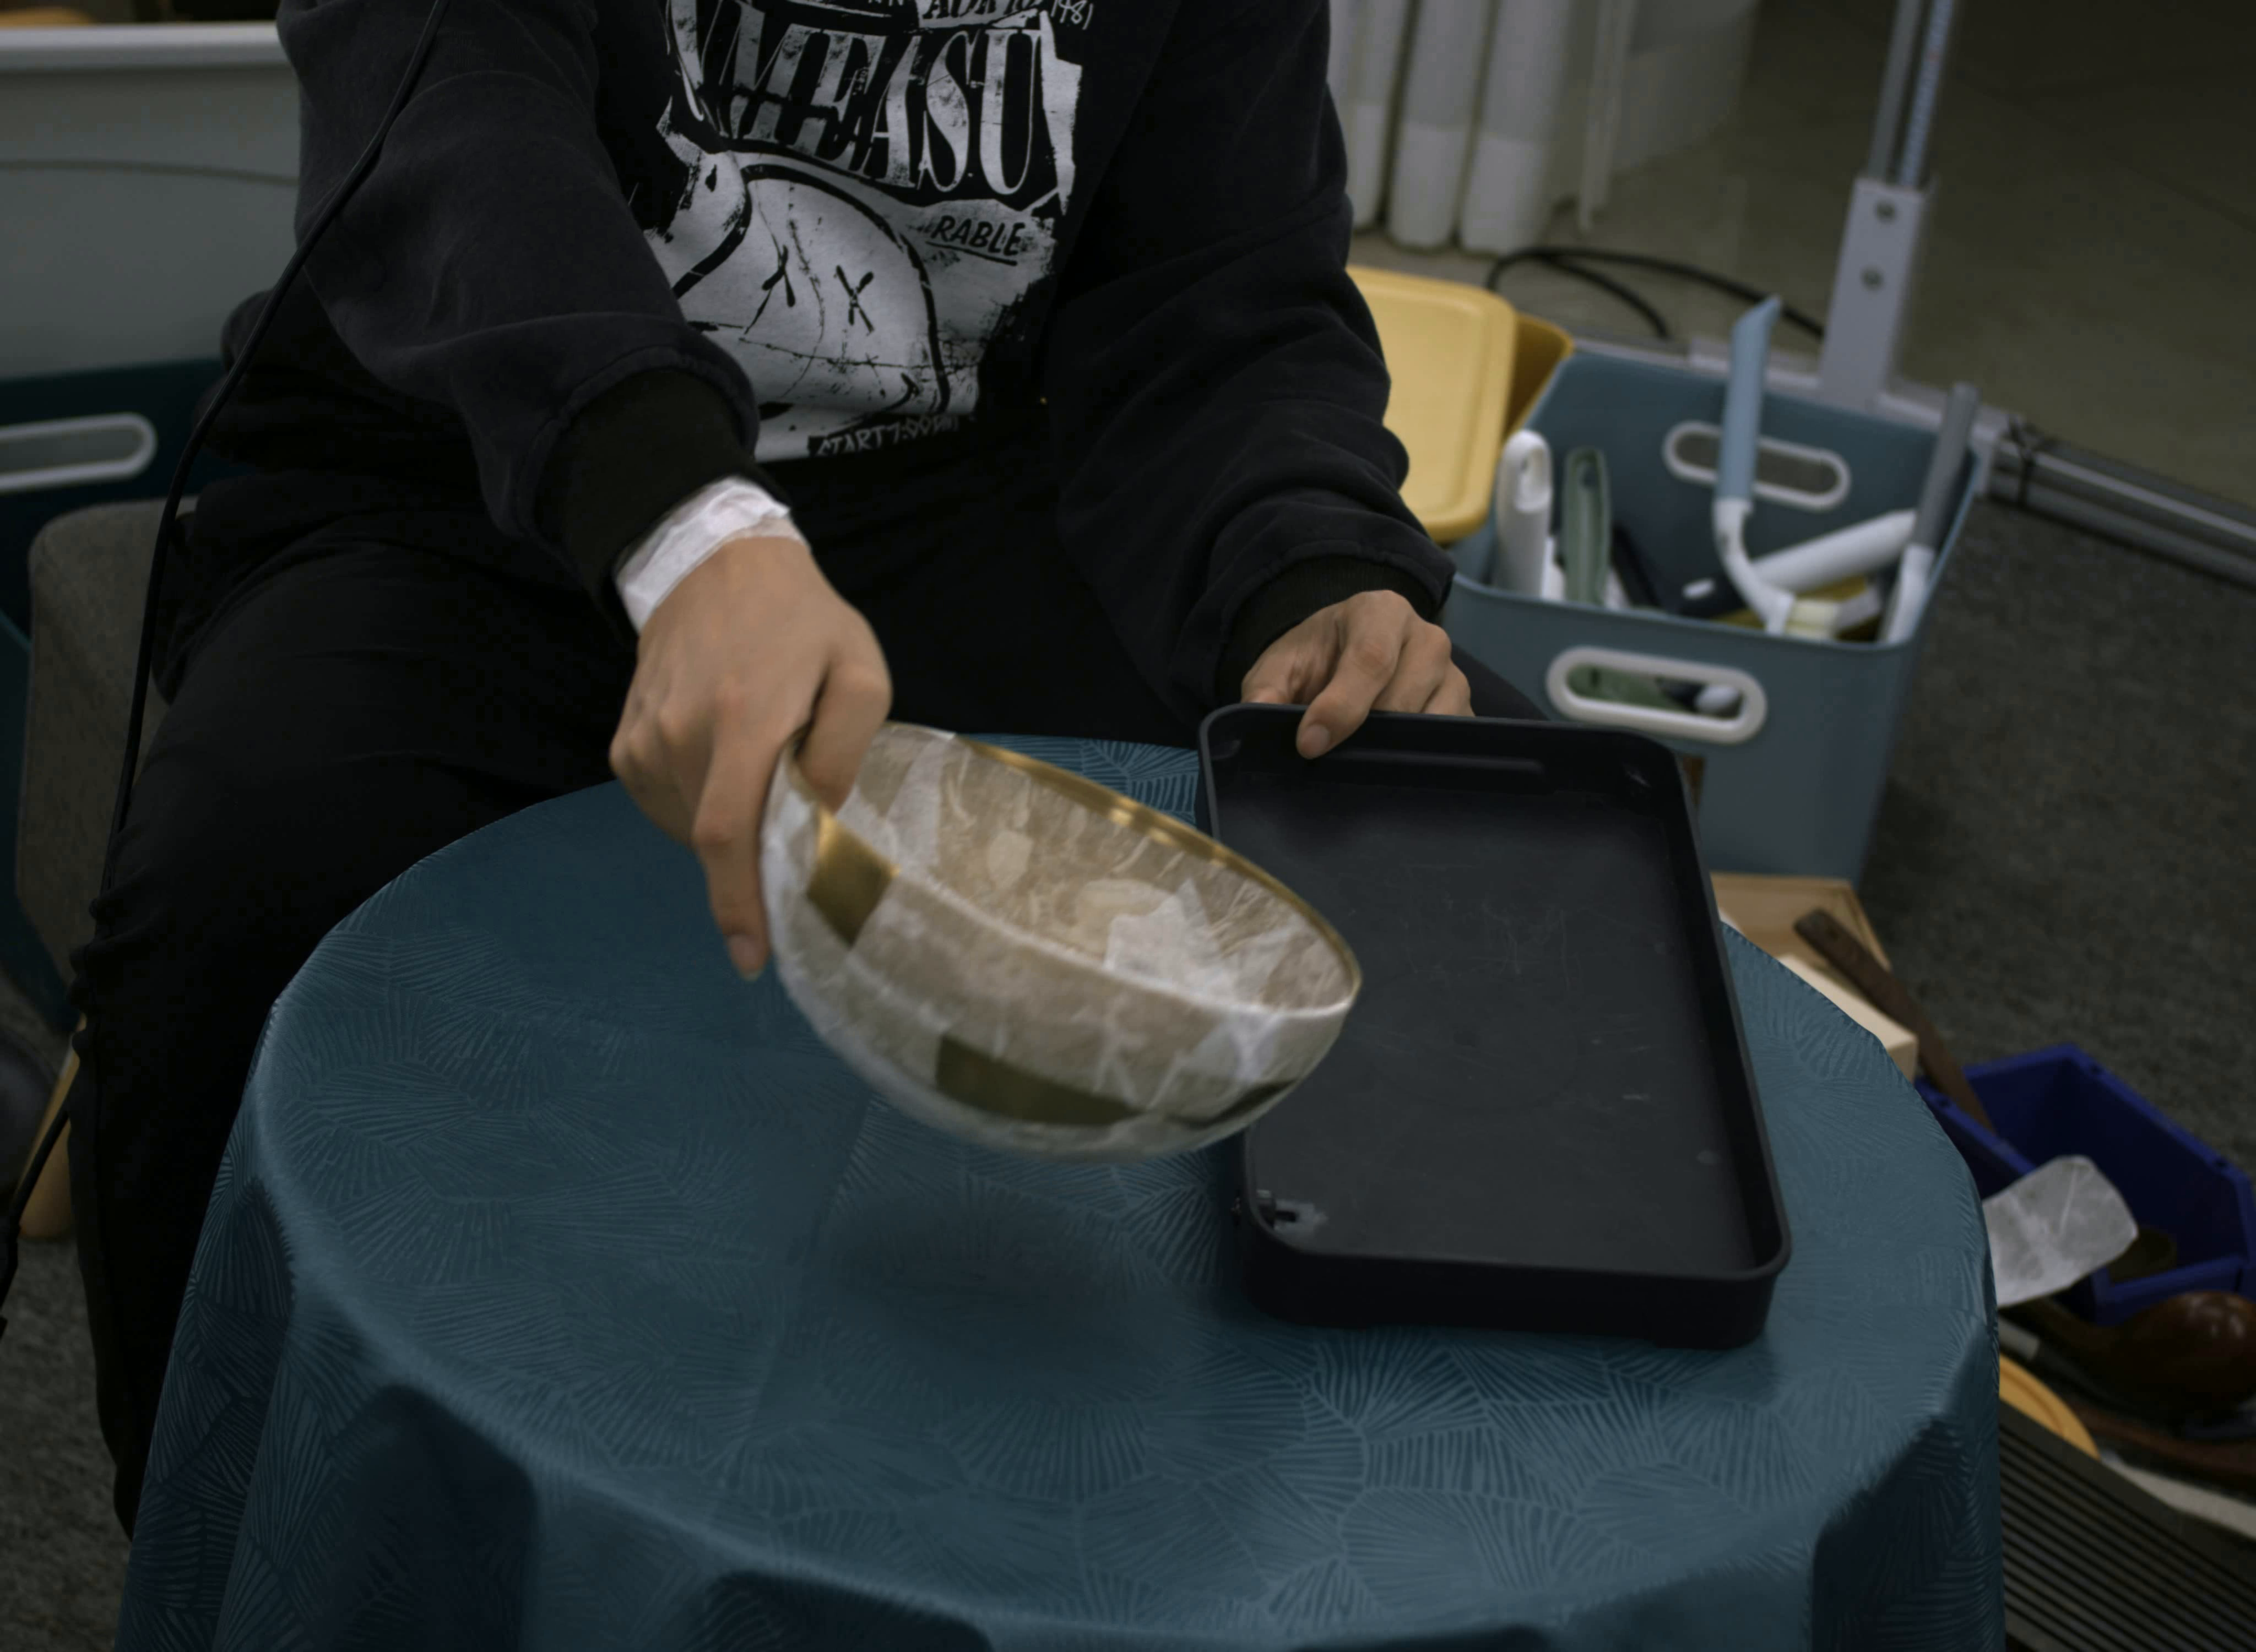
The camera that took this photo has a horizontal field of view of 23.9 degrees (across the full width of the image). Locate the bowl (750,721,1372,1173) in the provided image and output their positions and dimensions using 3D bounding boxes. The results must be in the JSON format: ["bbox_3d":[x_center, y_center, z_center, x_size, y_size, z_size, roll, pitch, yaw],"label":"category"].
[{"bbox_3d":[-0.035,0.050,1.701,0.214,0.094,0.215,21,16,-6],"label":"bowl"}]

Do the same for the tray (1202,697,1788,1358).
[{"bbox_3d":[0.121,0.064,1.859,0.183,0.037,0.320,4,36,-5],"label":"tray"}]
